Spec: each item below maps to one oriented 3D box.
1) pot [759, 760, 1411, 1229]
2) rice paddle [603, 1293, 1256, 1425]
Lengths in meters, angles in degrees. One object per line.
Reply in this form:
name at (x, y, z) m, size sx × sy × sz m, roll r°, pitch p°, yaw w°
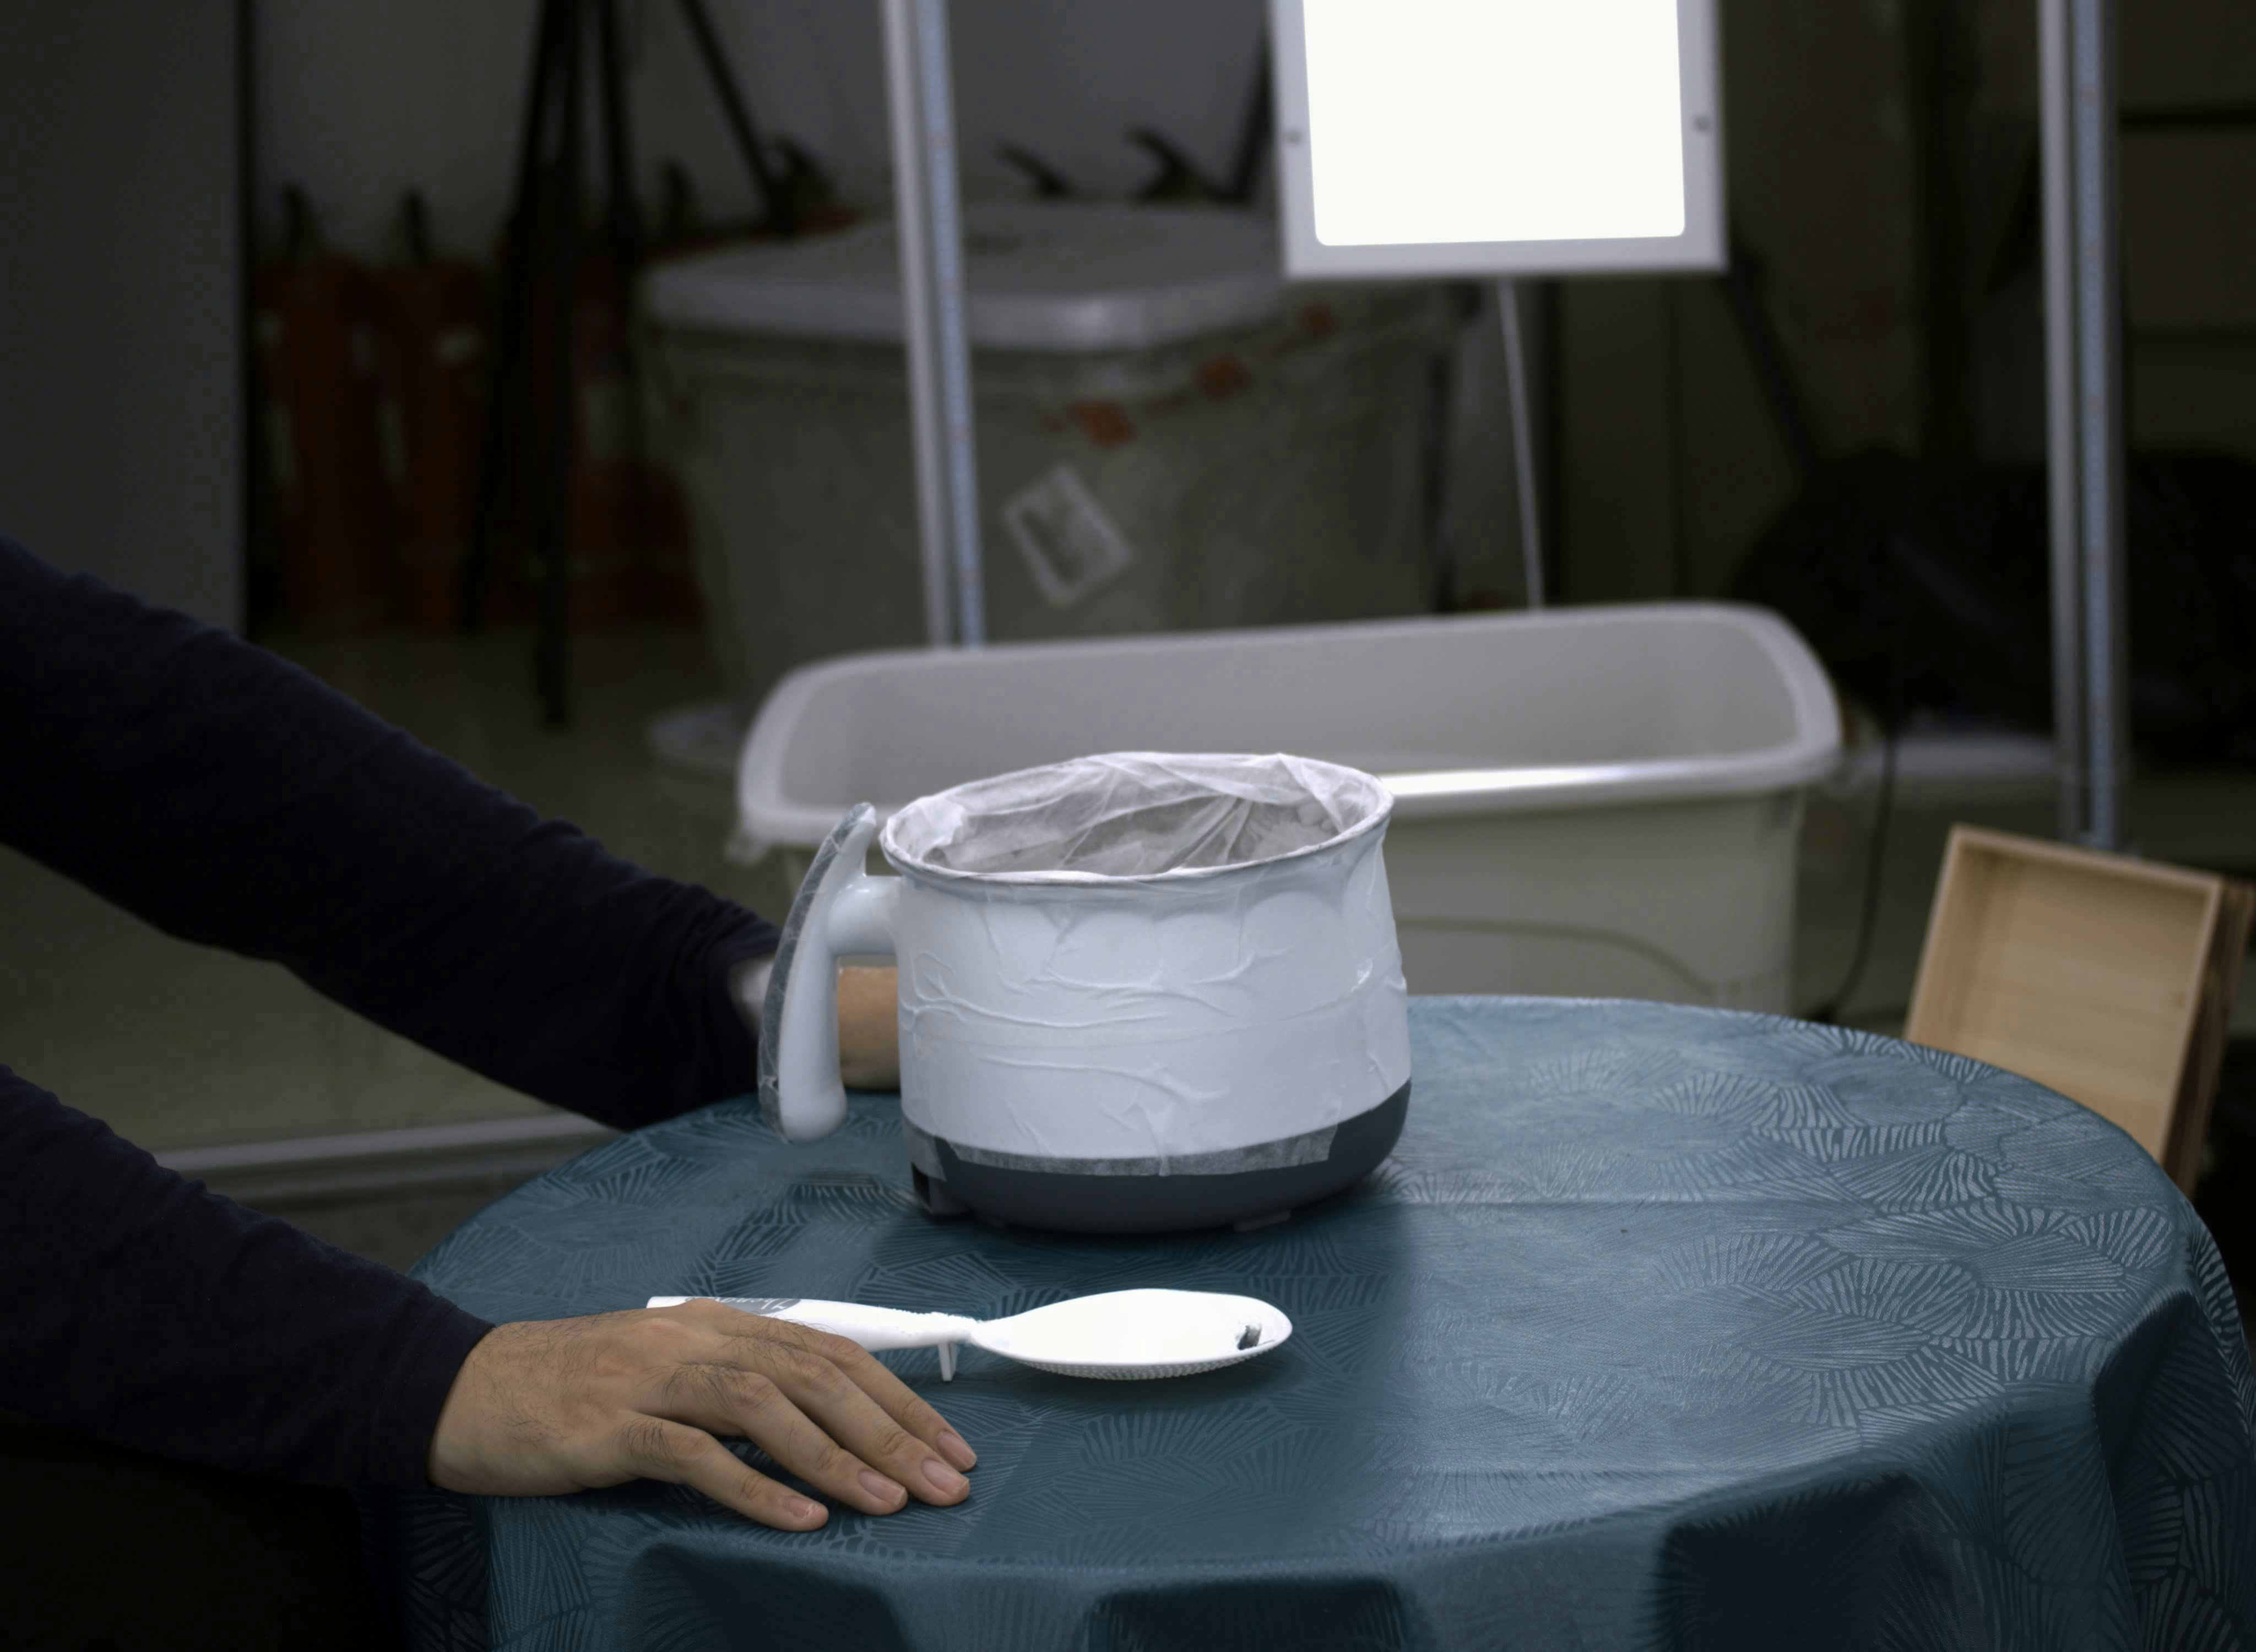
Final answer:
pot at (-0.018, 0.057, 1.904) m, size 0.236 × 0.137 × 0.176 m, roll -1°, pitch 12°, yaw 16°
rice paddle at (-0.061, 0.167, 1.722) m, size 0.206 × 0.029 × 0.068 m, roll 3°, pitch 9°, yaw 8°
